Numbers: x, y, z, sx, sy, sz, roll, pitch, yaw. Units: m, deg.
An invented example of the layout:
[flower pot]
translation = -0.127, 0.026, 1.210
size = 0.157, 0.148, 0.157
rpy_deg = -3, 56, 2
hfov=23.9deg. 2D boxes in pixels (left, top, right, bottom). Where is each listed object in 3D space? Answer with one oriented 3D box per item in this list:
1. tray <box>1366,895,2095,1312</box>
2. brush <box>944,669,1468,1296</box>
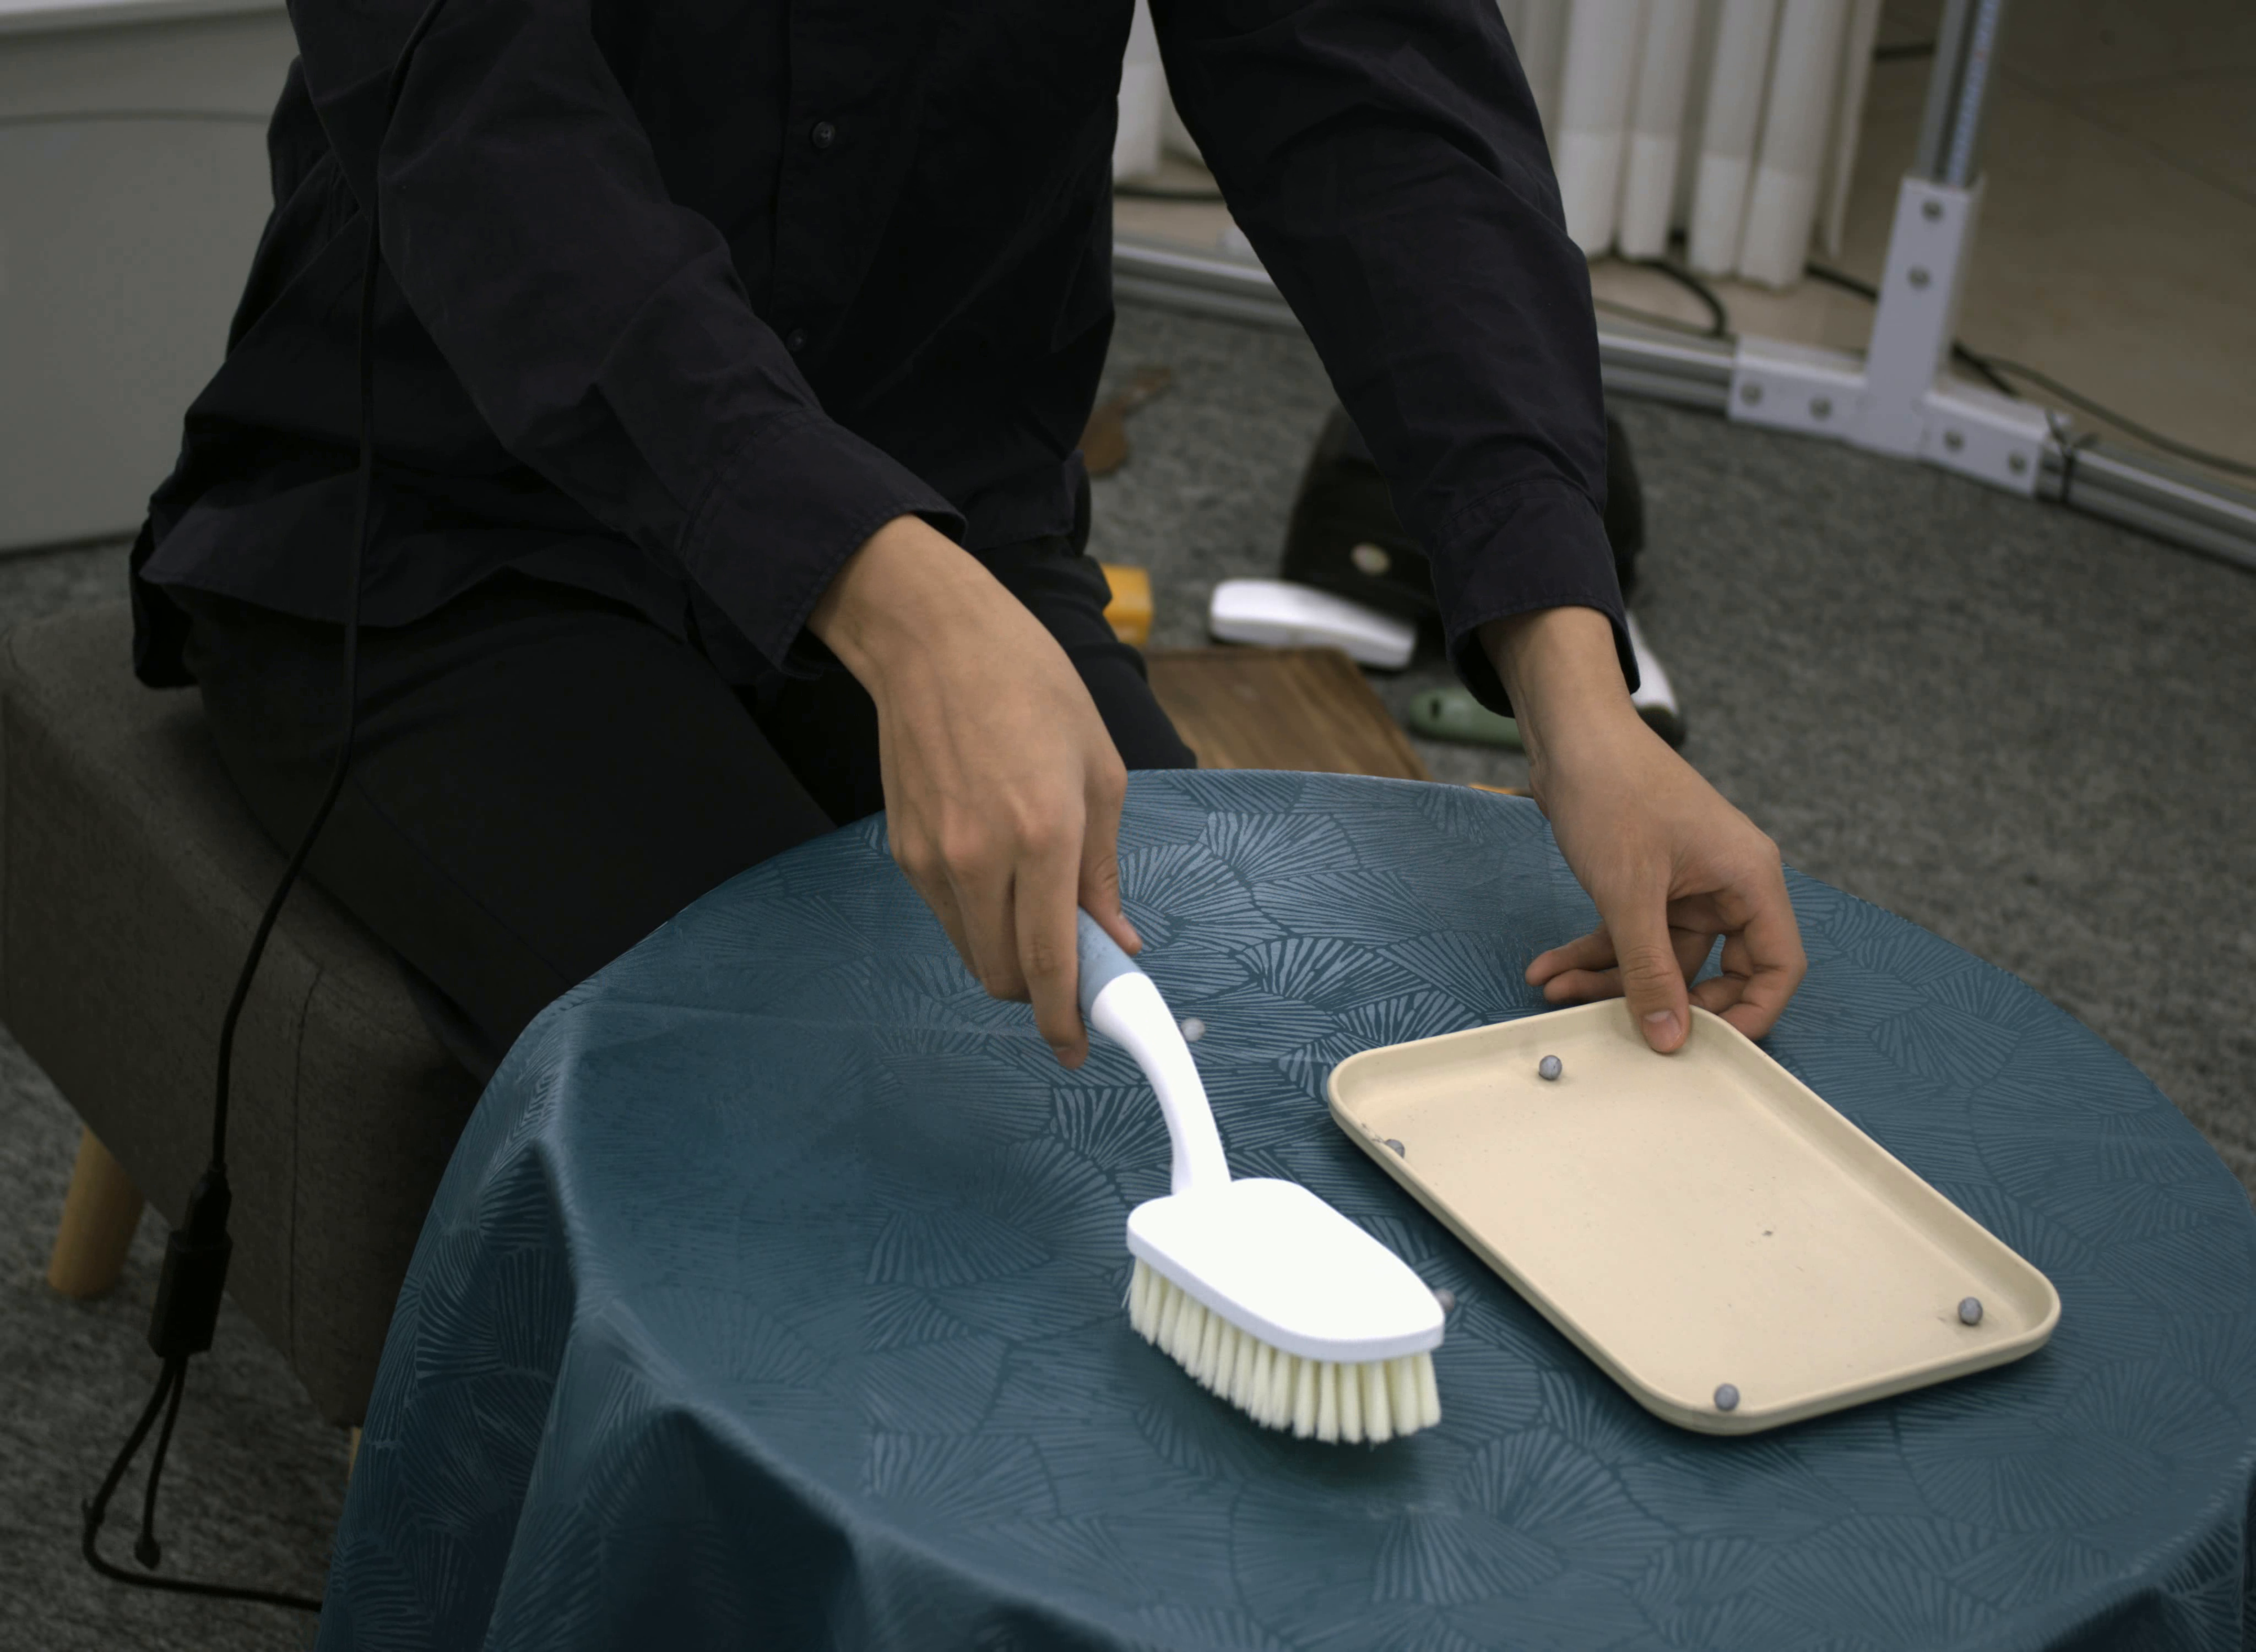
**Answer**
[tray]
translation = 0.204, 0.094, 1.832
size = 0.170, 0.017, 0.242
rpy_deg = -10, 31, -29
[brush]
translation = 0.020, 0.063, 1.790
size = 0.082, 0.084, 0.328
rpy_deg = 34, 9, -45
